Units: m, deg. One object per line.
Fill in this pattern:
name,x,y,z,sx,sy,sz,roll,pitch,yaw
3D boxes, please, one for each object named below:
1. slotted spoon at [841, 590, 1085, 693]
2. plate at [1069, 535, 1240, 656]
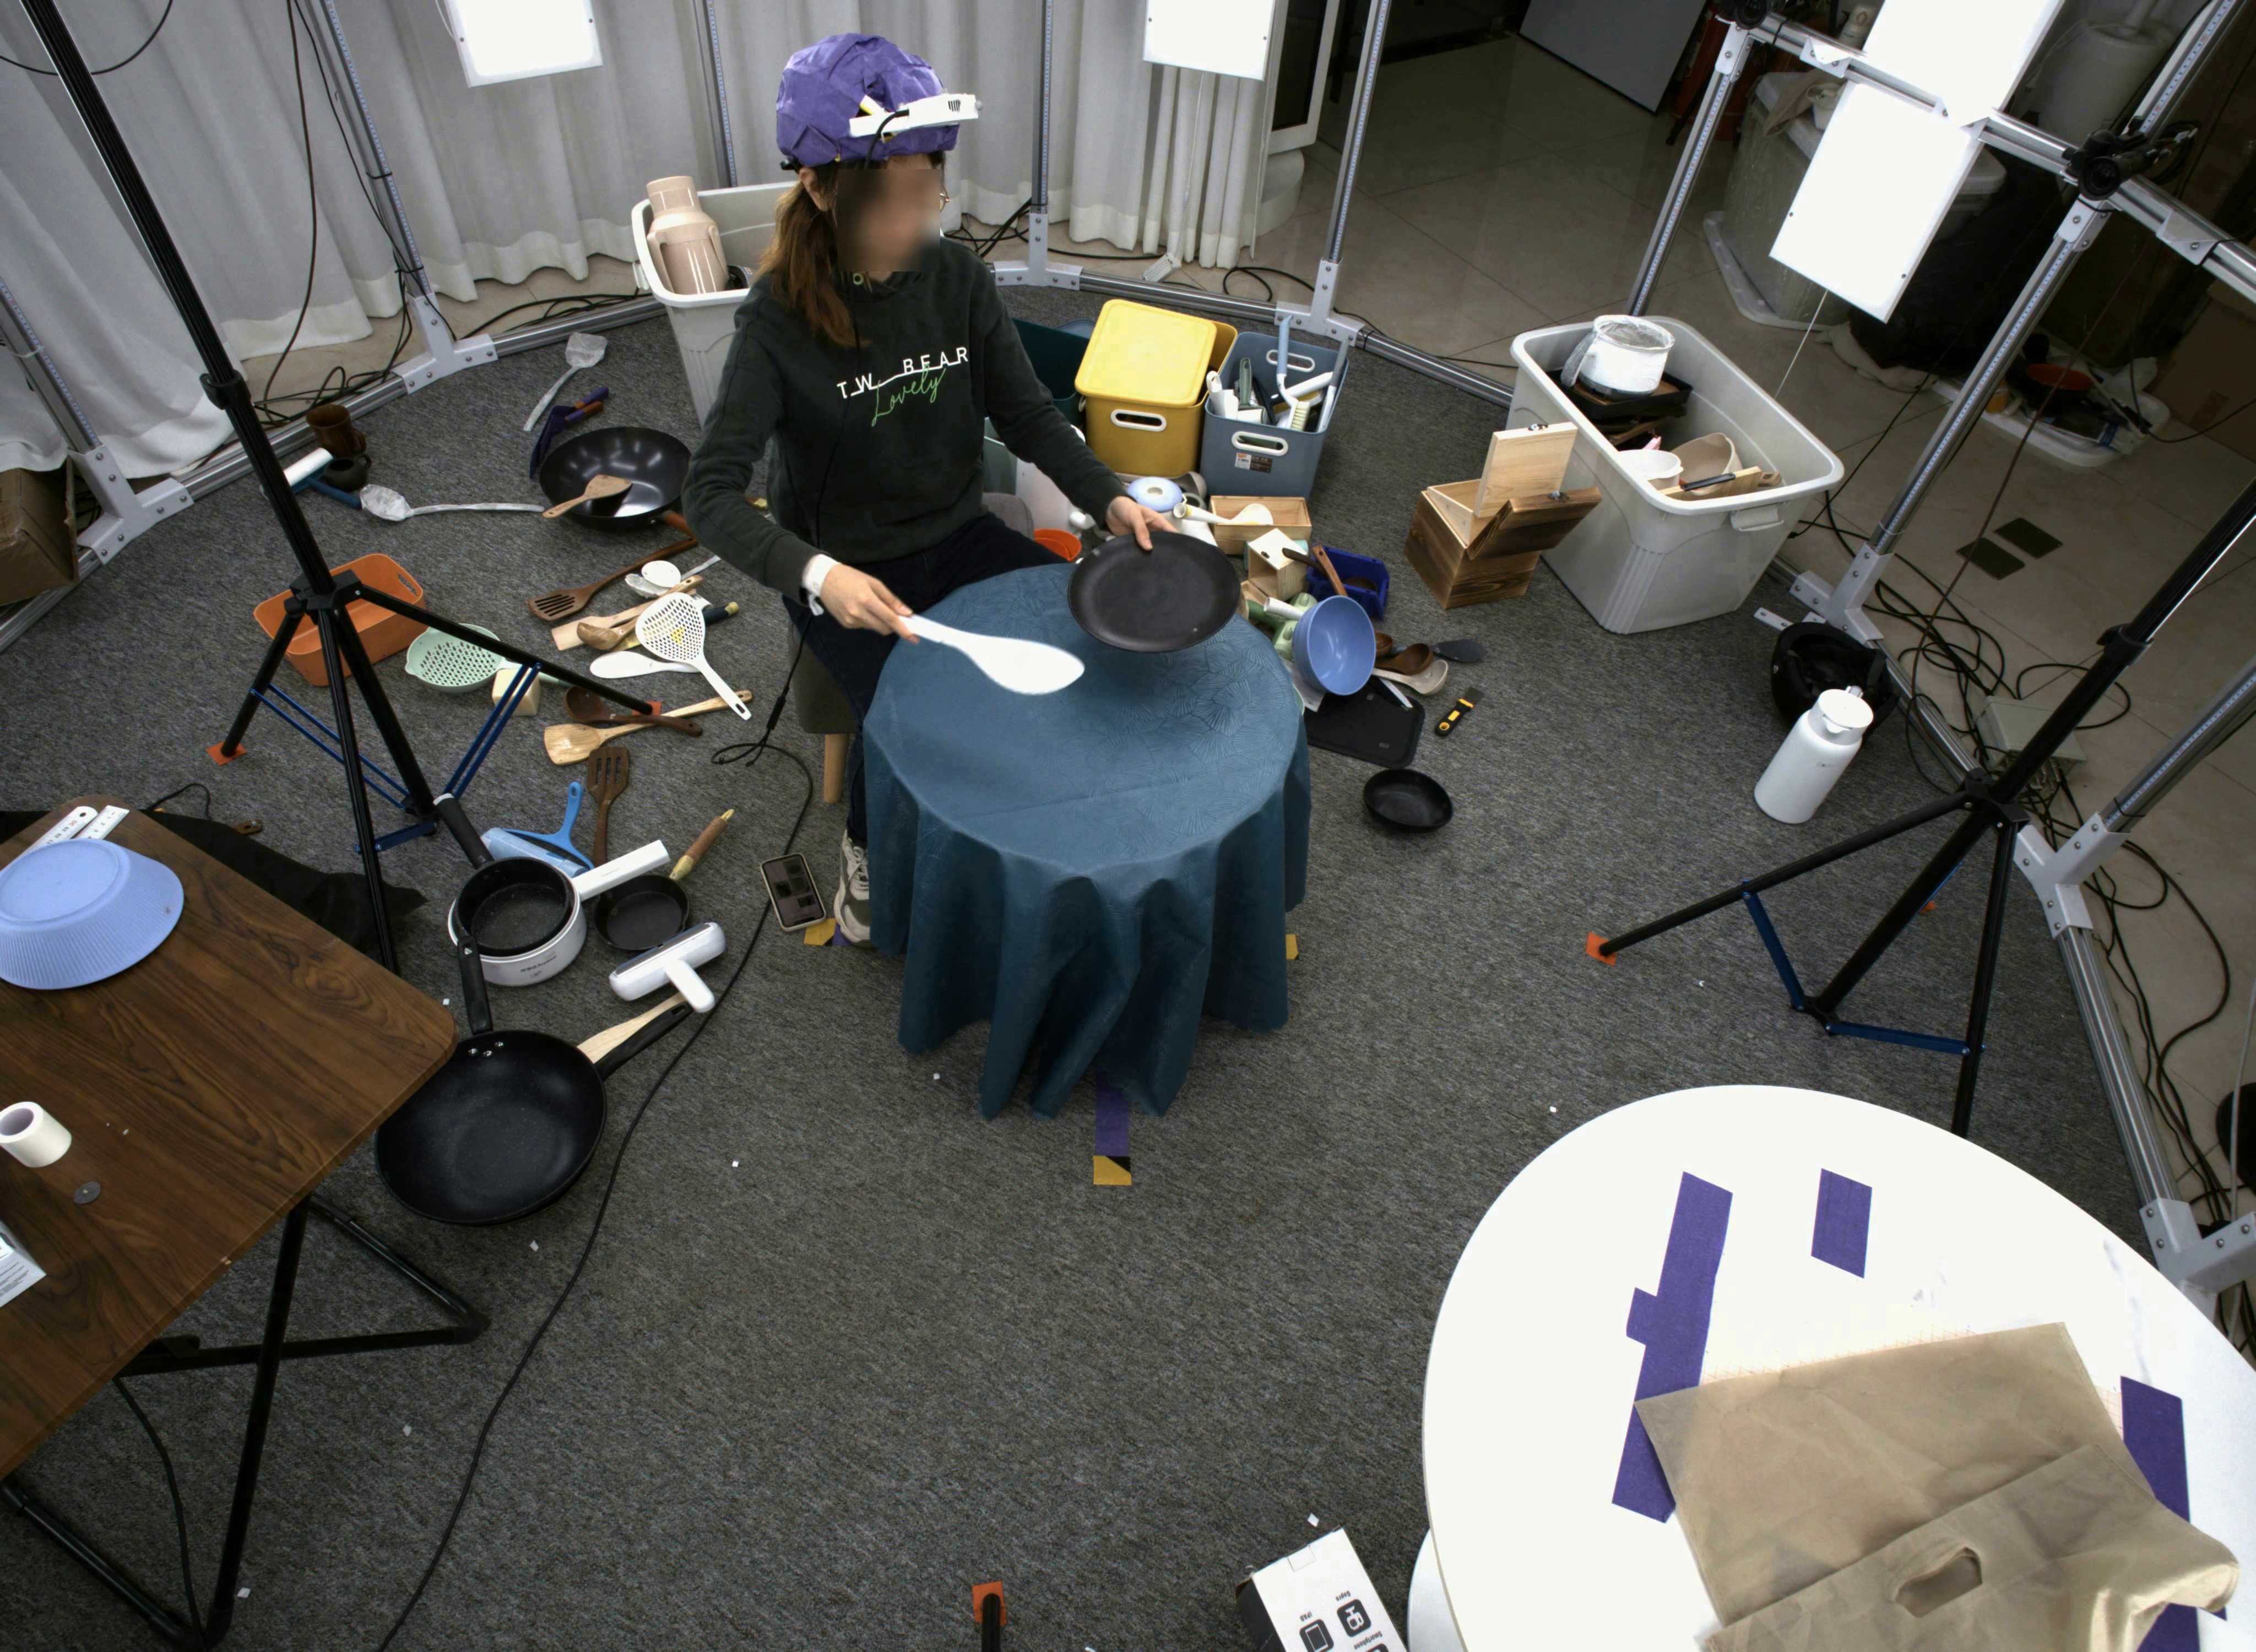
slotted spoon,-0.214,-0.237,1.612,0.353,0.045,0.137,26,29,20
plate,0.038,-0.327,1.833,0.244,0.023,0.250,-2,52,2
